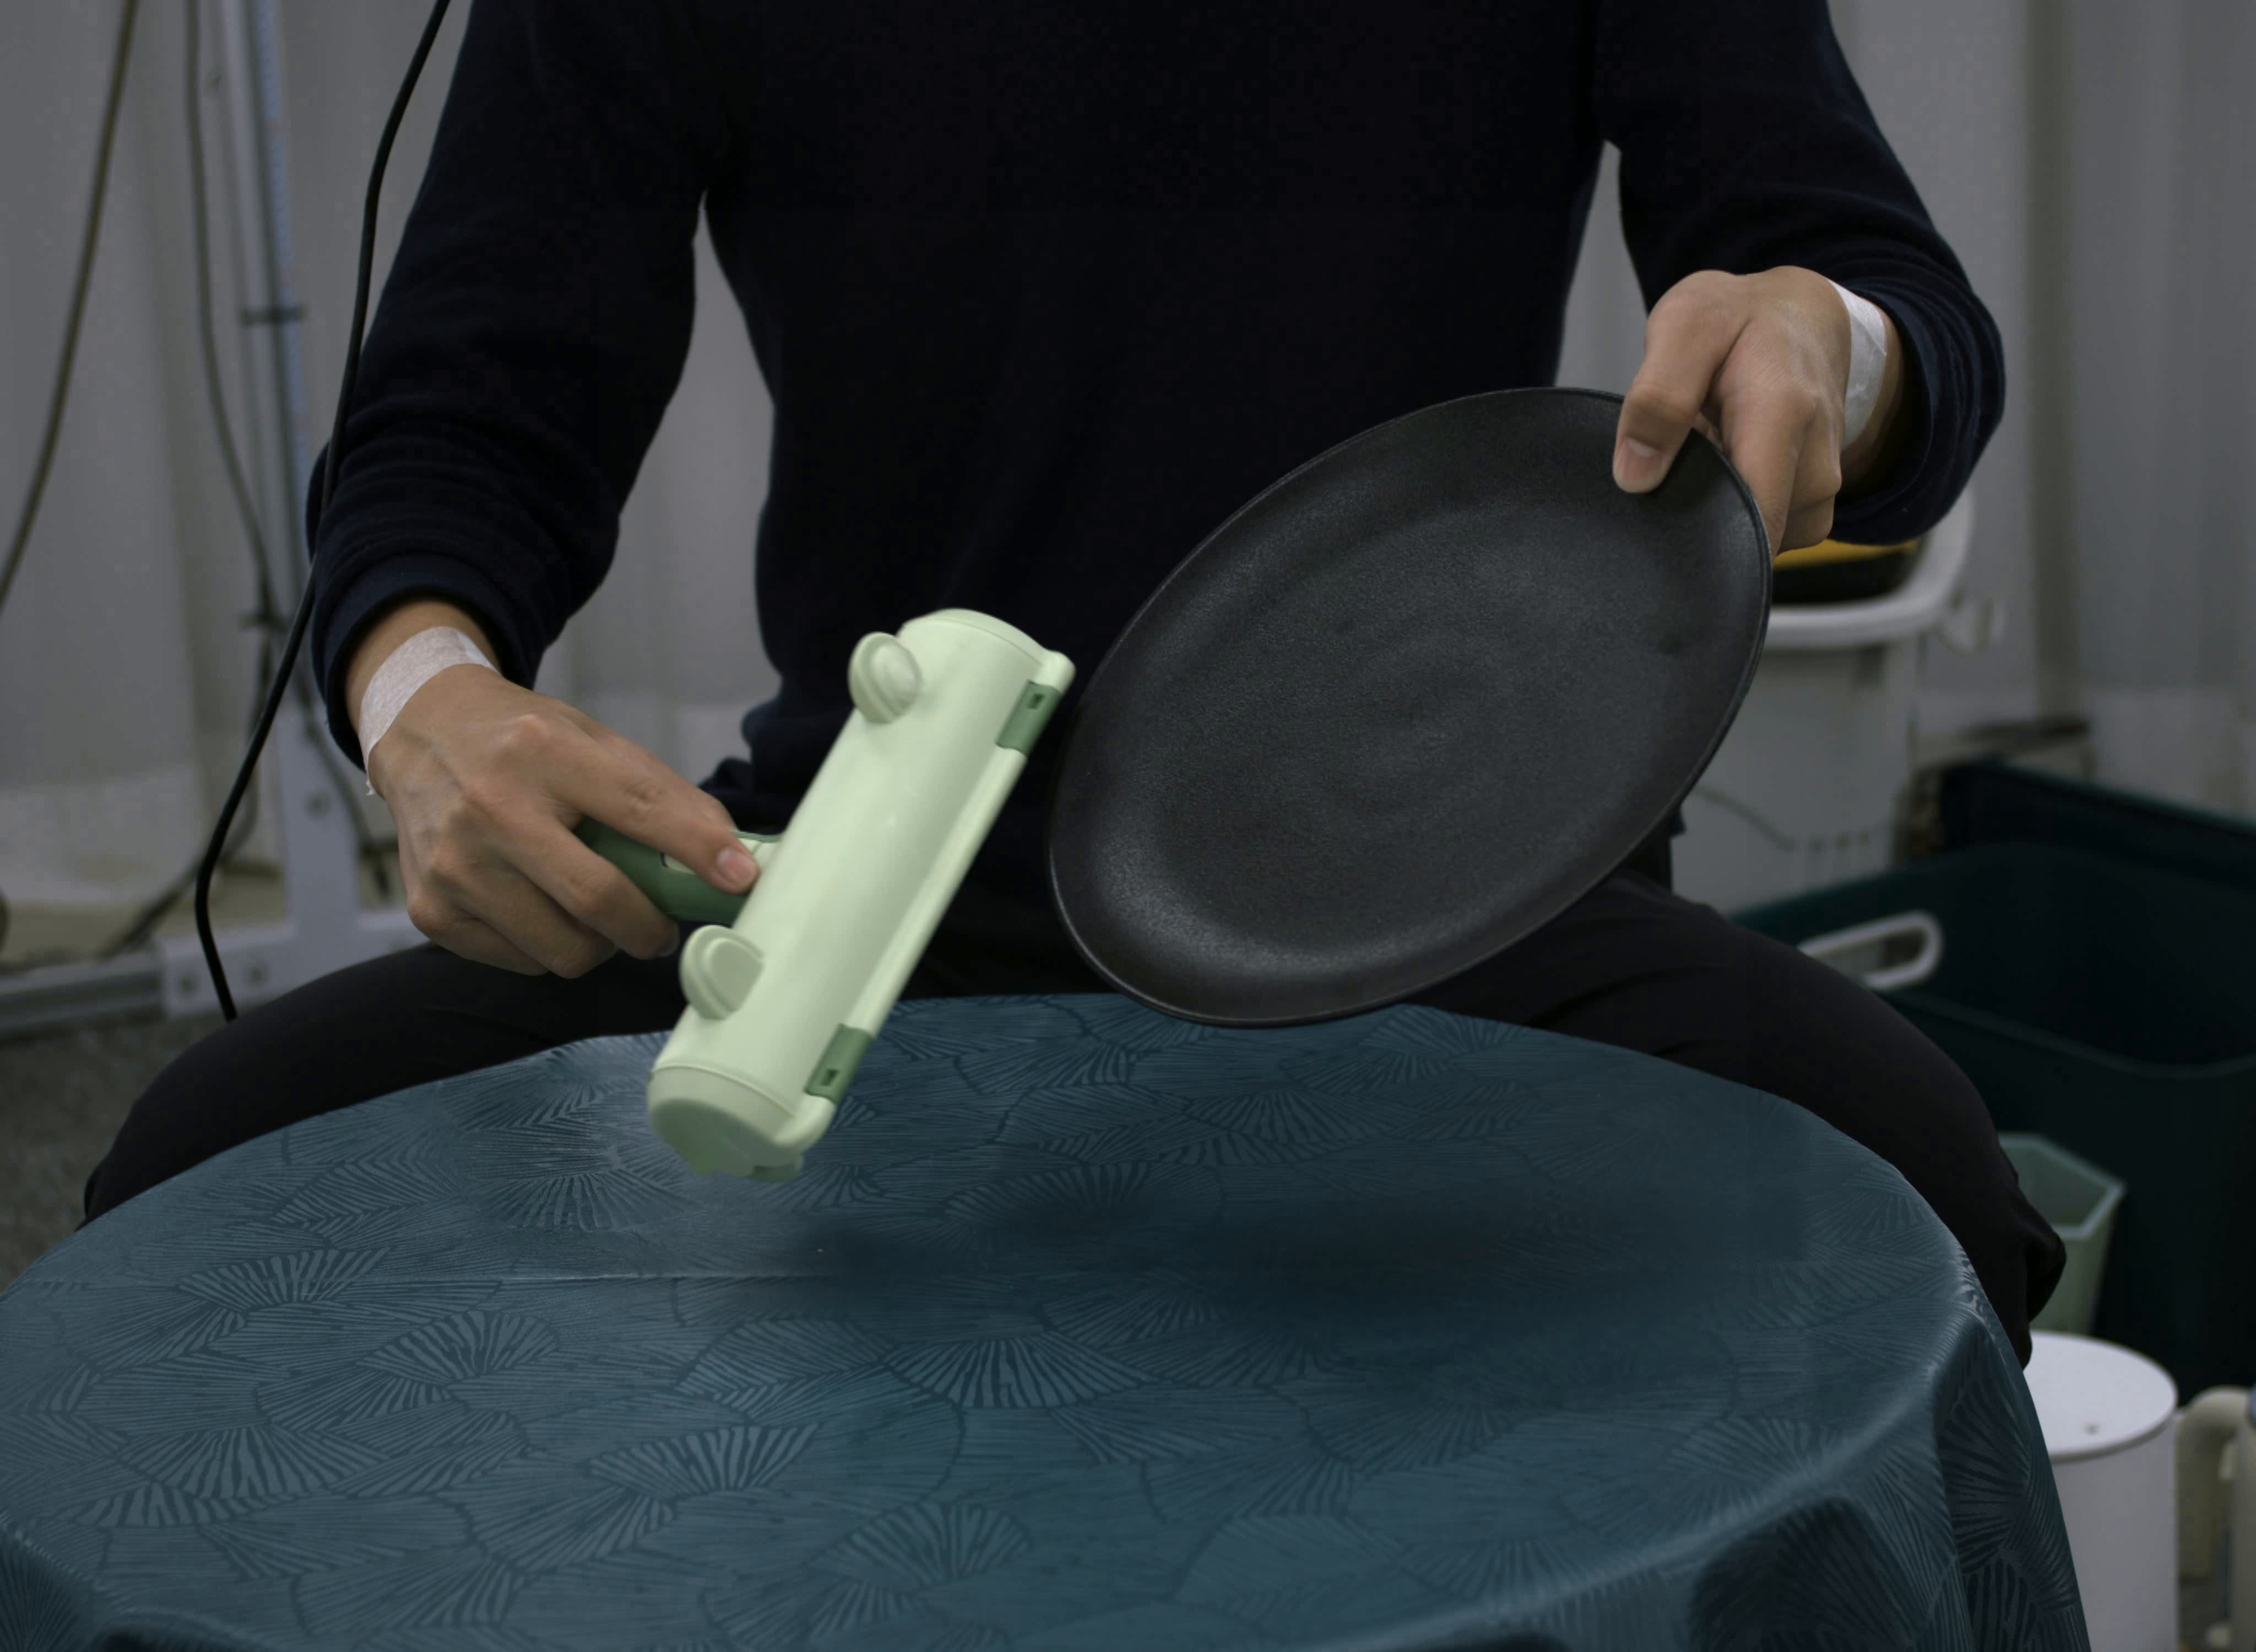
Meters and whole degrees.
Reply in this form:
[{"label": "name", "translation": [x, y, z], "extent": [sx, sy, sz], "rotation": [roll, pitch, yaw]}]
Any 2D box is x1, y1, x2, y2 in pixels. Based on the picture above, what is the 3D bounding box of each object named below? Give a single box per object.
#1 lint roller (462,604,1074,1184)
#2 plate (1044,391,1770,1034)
[{"label": "lint roller", "translation": [-0.133, 0.003, 1.685], "extent": [0.184, 0.081, 0.201], "rotation": [13, 55, 22]}, {"label": "plate", "translation": [0.084, -0.032, 1.634], "extent": [0.243, 0.023, 0.248], "rotation": [-22, 41, 20]}]
